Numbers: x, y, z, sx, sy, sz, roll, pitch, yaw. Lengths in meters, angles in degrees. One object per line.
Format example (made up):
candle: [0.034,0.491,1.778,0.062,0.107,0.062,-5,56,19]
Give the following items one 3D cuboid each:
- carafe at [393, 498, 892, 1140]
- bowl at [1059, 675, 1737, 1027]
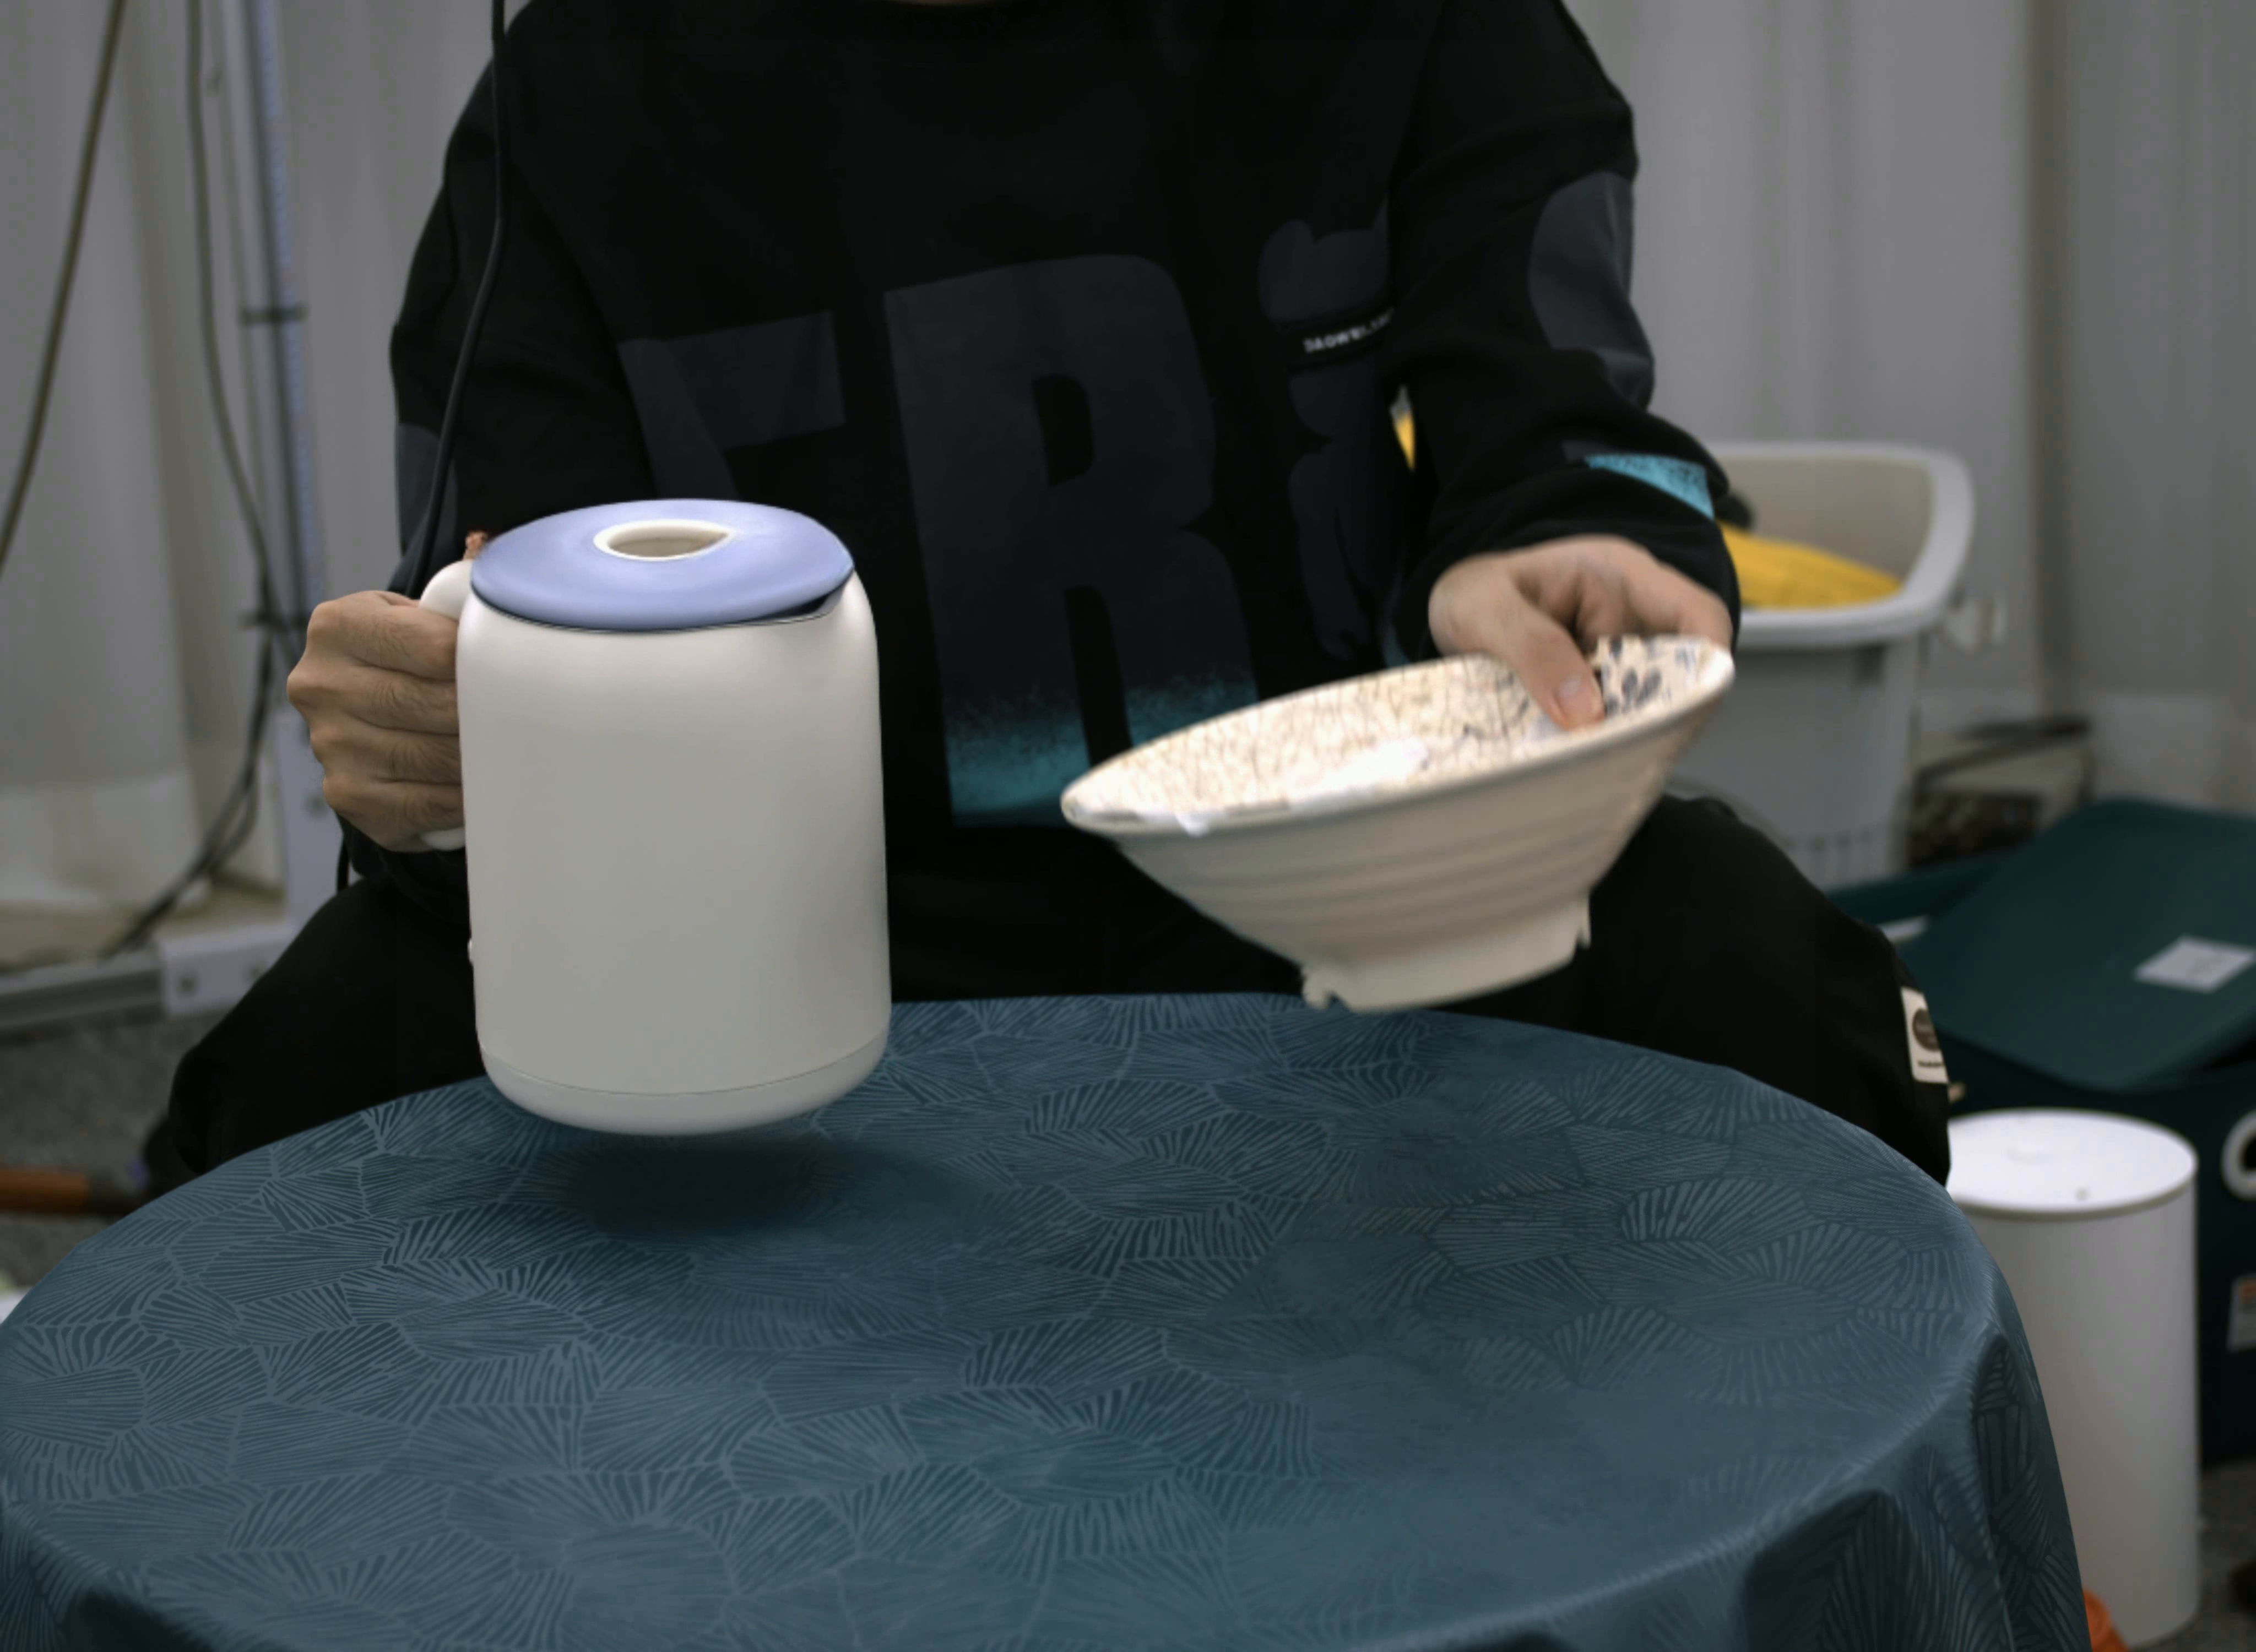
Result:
carafe: [-0.161,-0.007,1.722,0.192,0.181,0.132,11,21,39]
bowl: [0.086,0.013,1.619,0.203,0.078,0.204,-11,6,1]
